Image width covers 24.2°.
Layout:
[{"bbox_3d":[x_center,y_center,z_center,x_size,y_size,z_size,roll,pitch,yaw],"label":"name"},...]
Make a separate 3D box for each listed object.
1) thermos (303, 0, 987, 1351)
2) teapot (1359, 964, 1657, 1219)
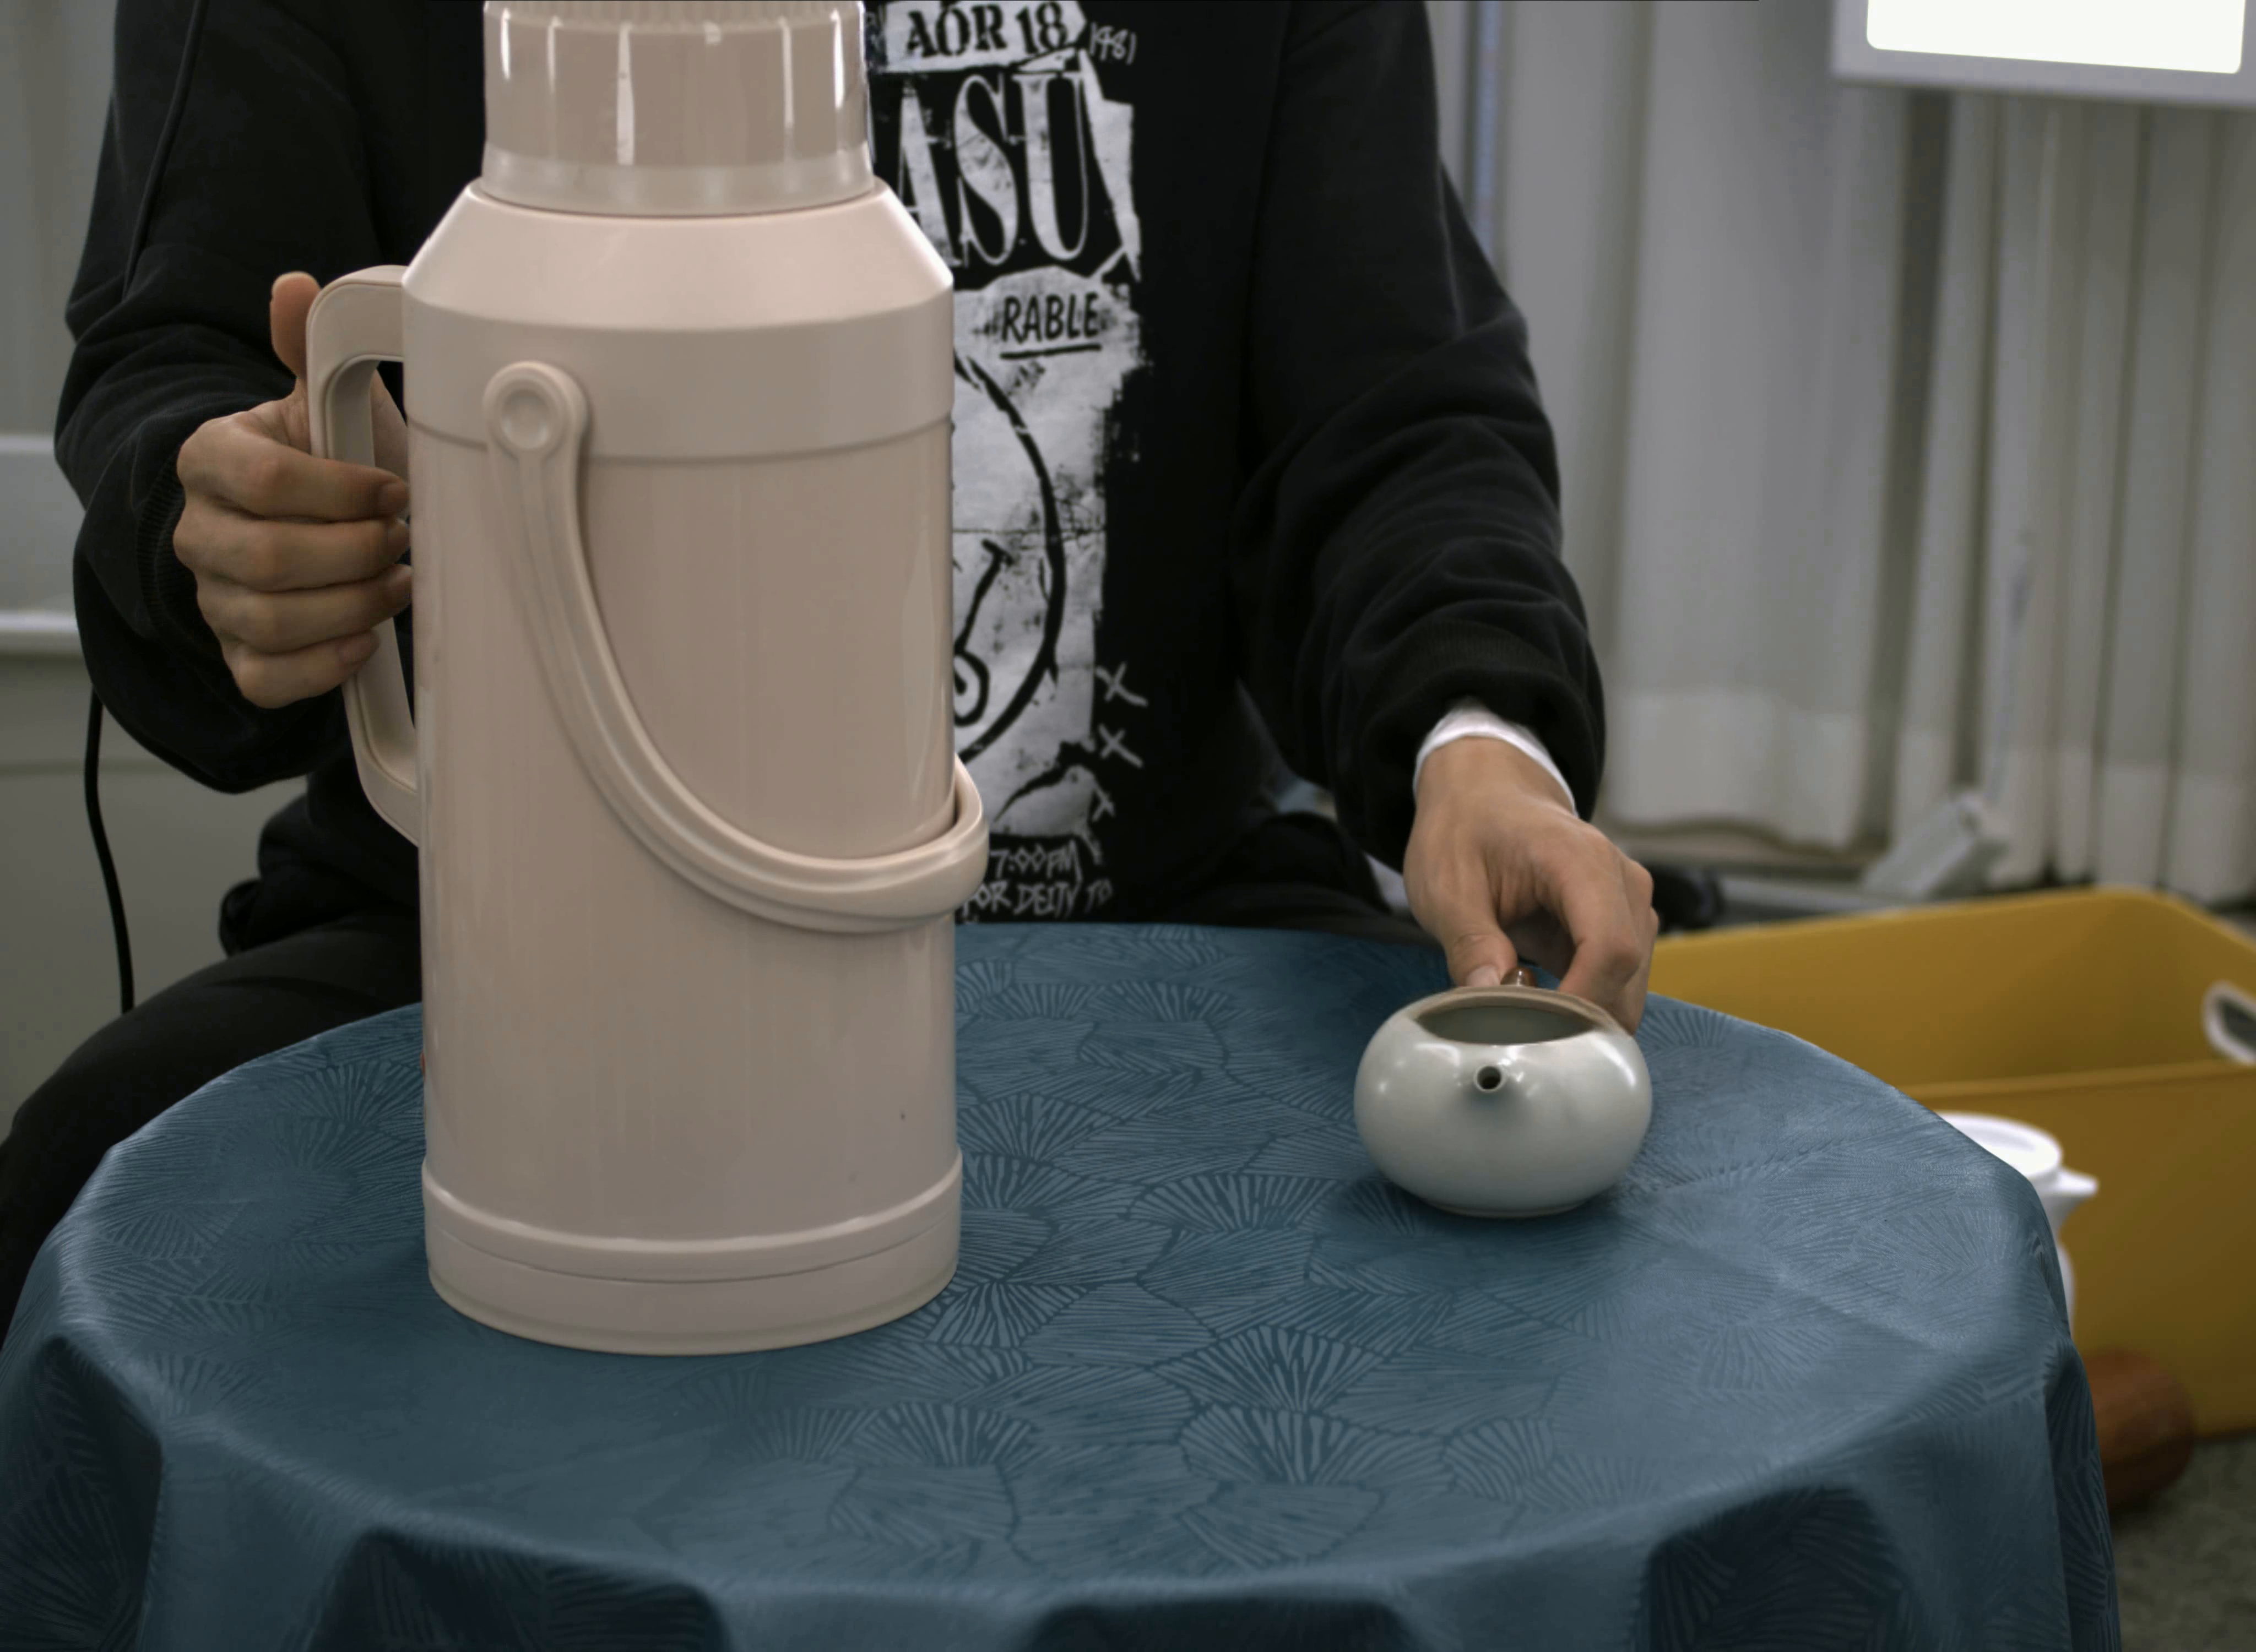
[{"bbox_3d":[-0.140,-0.064,1.511,0.205,0.410,0.175,7,19,21],"label":"thermos"},{"bbox_3d":[0.118,0.082,1.626,0.091,0.060,0.127,-2,16,7],"label":"teapot"}]
